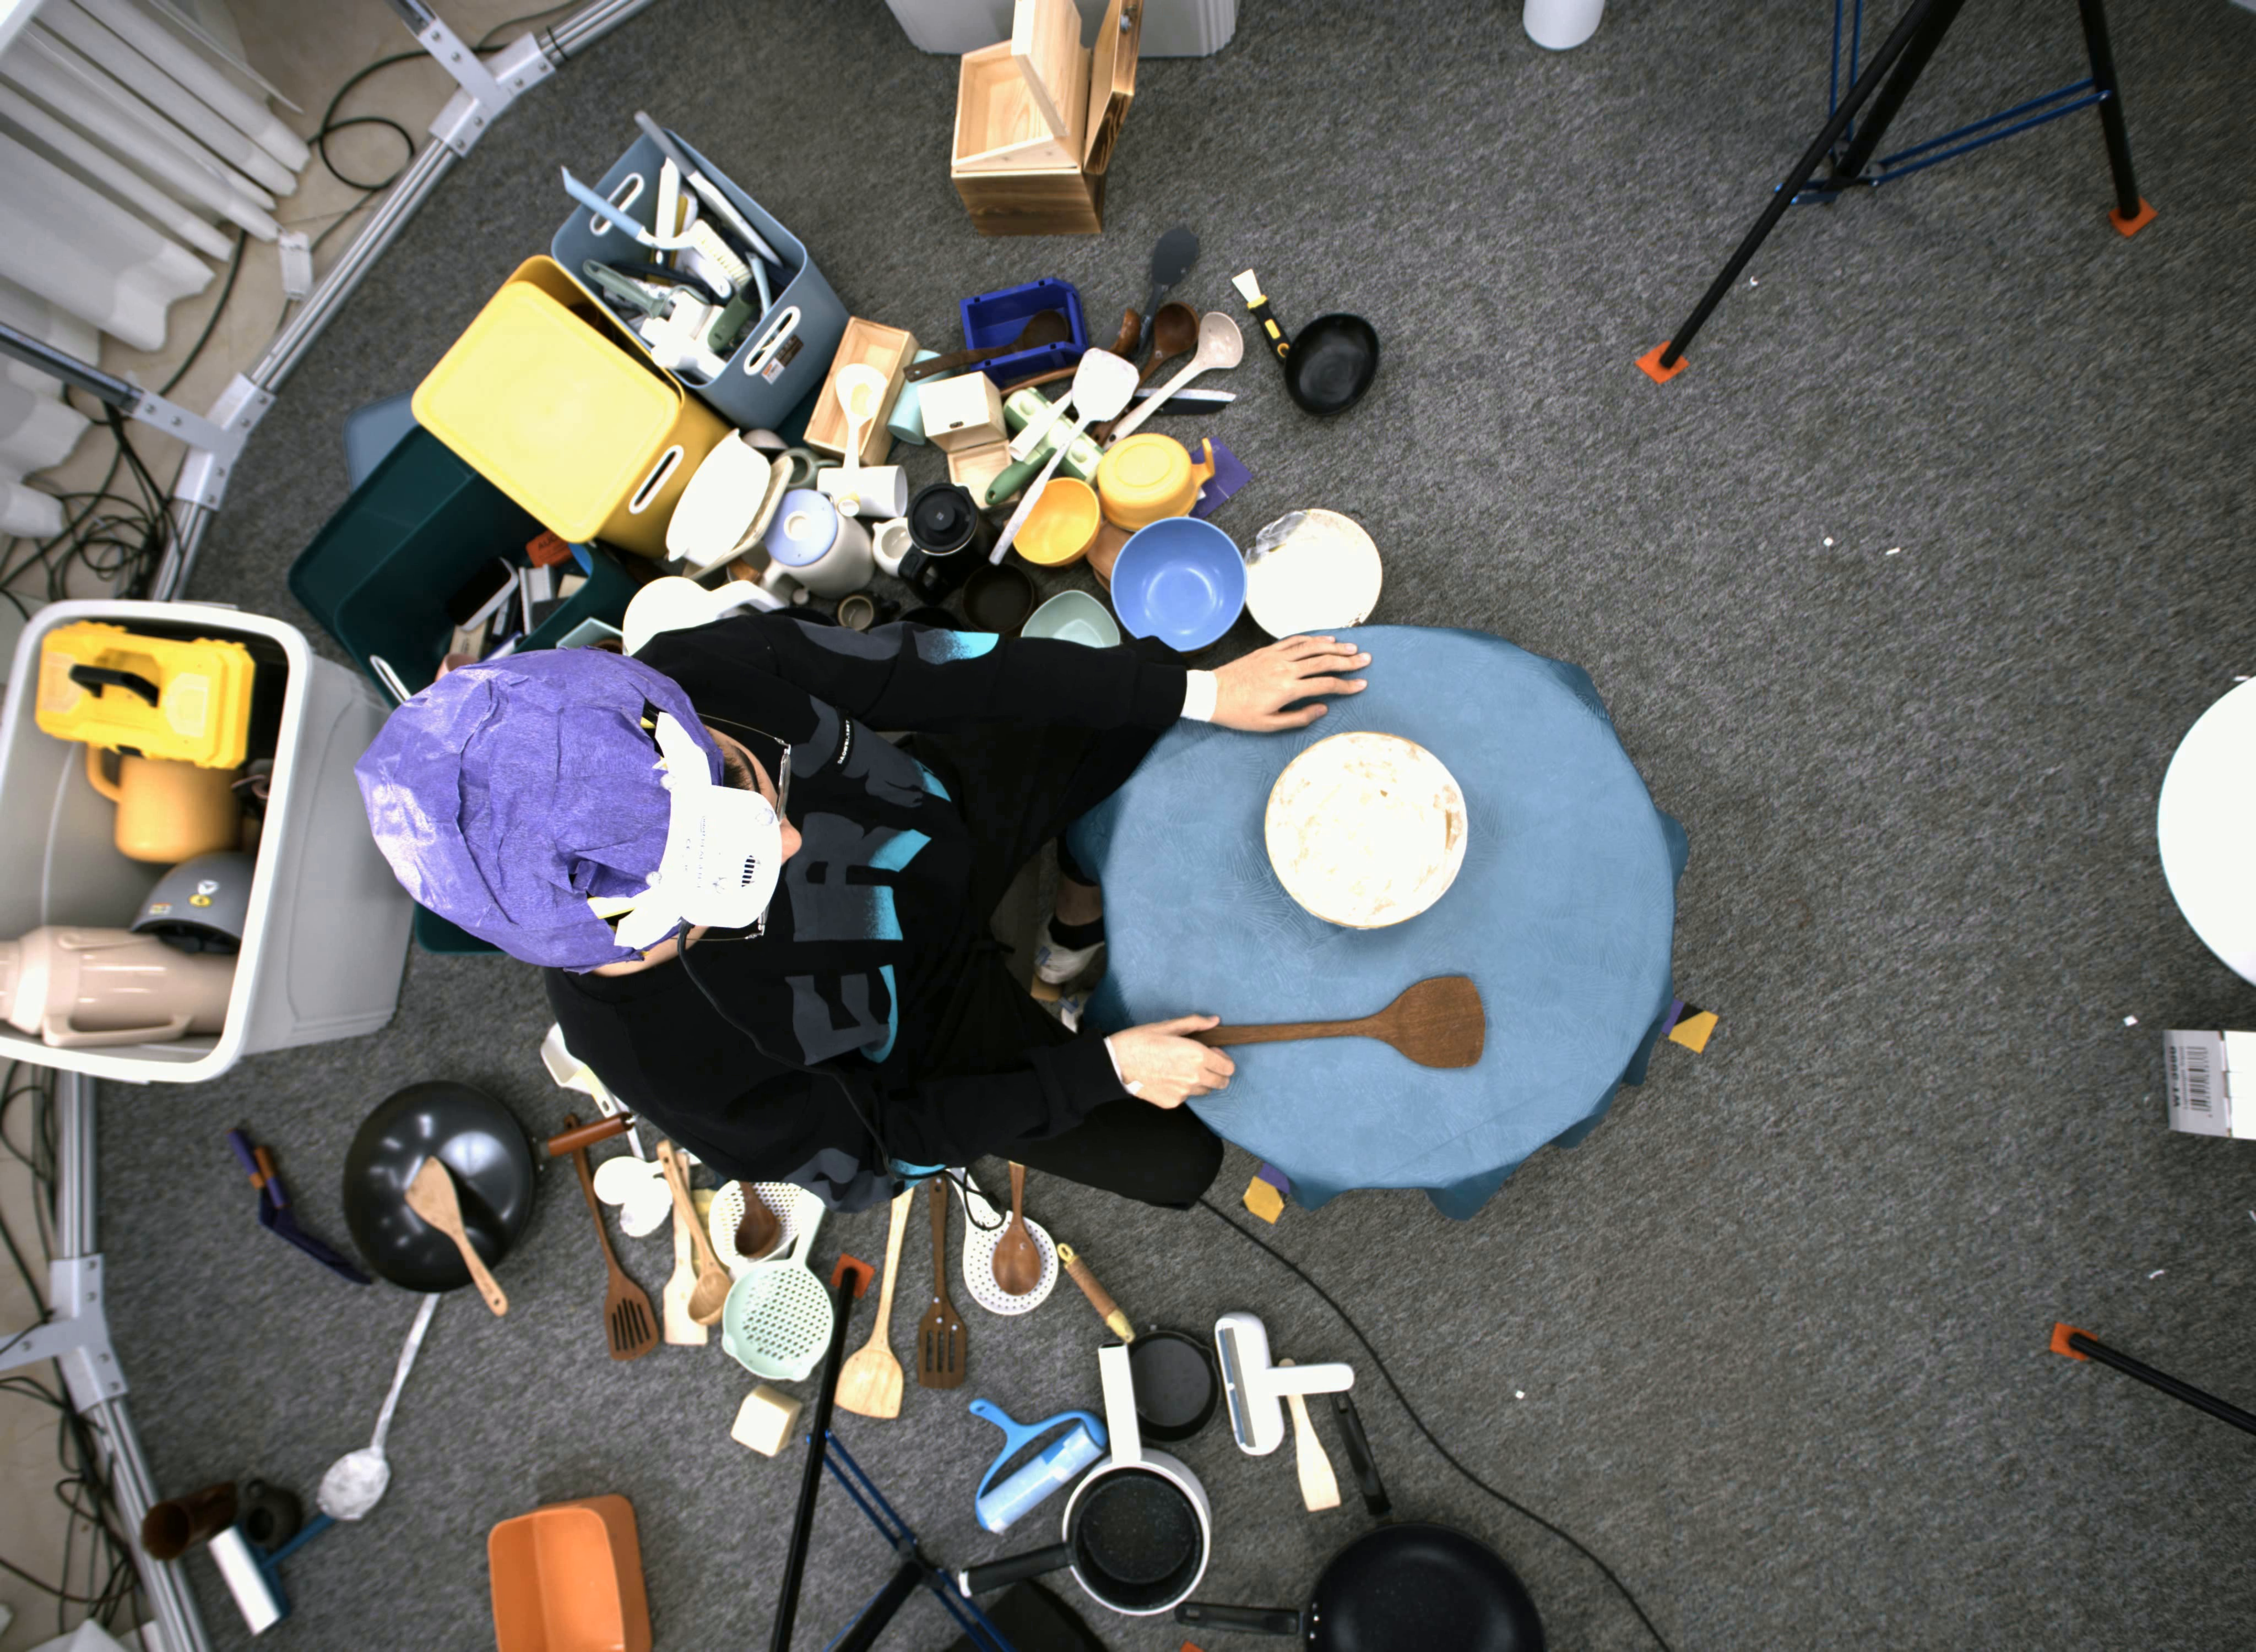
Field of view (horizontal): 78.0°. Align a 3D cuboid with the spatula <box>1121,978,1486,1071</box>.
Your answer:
[{"bbox_3d":[0.181,0.219,1.464,0.388,0.016,0.095,-5,85,10],"label":"spatula"}]

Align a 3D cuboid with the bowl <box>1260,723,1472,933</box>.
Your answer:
[{"bbox_3d":[0.245,0.006,1.426,0.215,0.094,0.214,-1,87,11],"label":"bowl"}]
